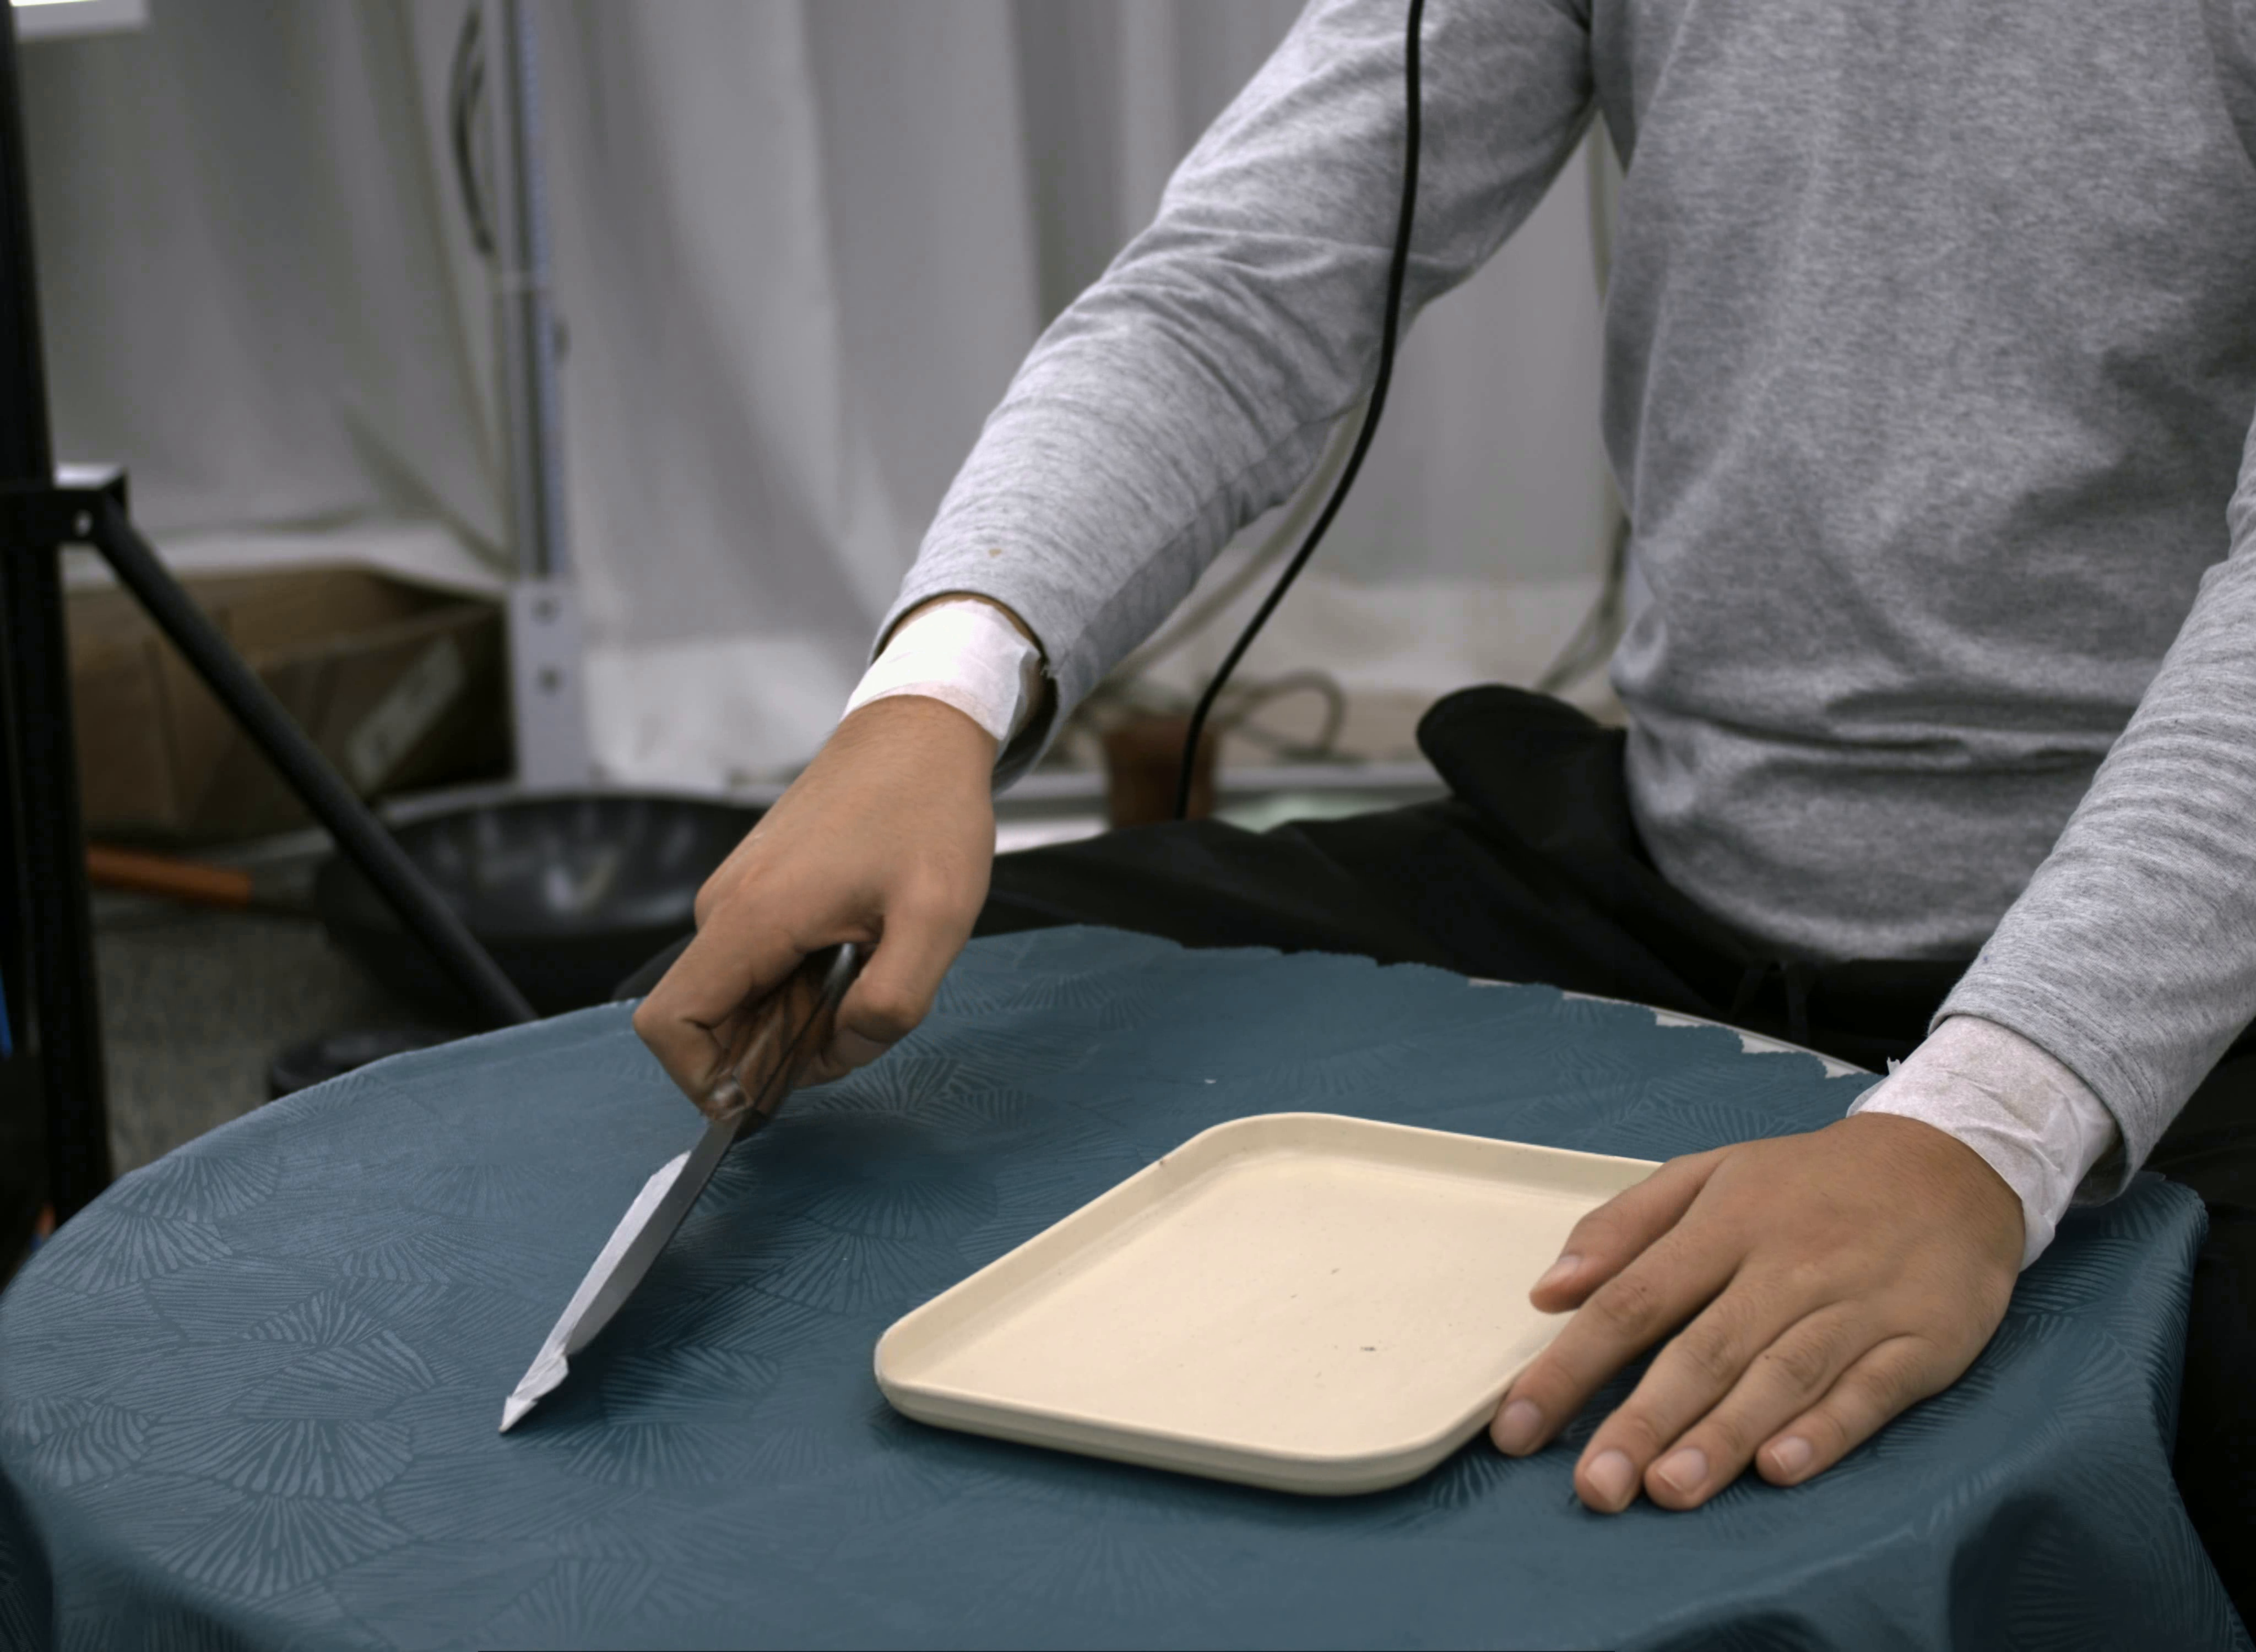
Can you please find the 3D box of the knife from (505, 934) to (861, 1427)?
[{"bbox_3d":[-0.125,0.099,1.525,0.051,0.020,0.287,-37,10,26],"label":"knife"}]

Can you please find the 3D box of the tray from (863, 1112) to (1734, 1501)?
[{"bbox_3d":[0.051,0.129,1.448,0.174,0.017,0.235,8,18,30],"label":"tray"}]
